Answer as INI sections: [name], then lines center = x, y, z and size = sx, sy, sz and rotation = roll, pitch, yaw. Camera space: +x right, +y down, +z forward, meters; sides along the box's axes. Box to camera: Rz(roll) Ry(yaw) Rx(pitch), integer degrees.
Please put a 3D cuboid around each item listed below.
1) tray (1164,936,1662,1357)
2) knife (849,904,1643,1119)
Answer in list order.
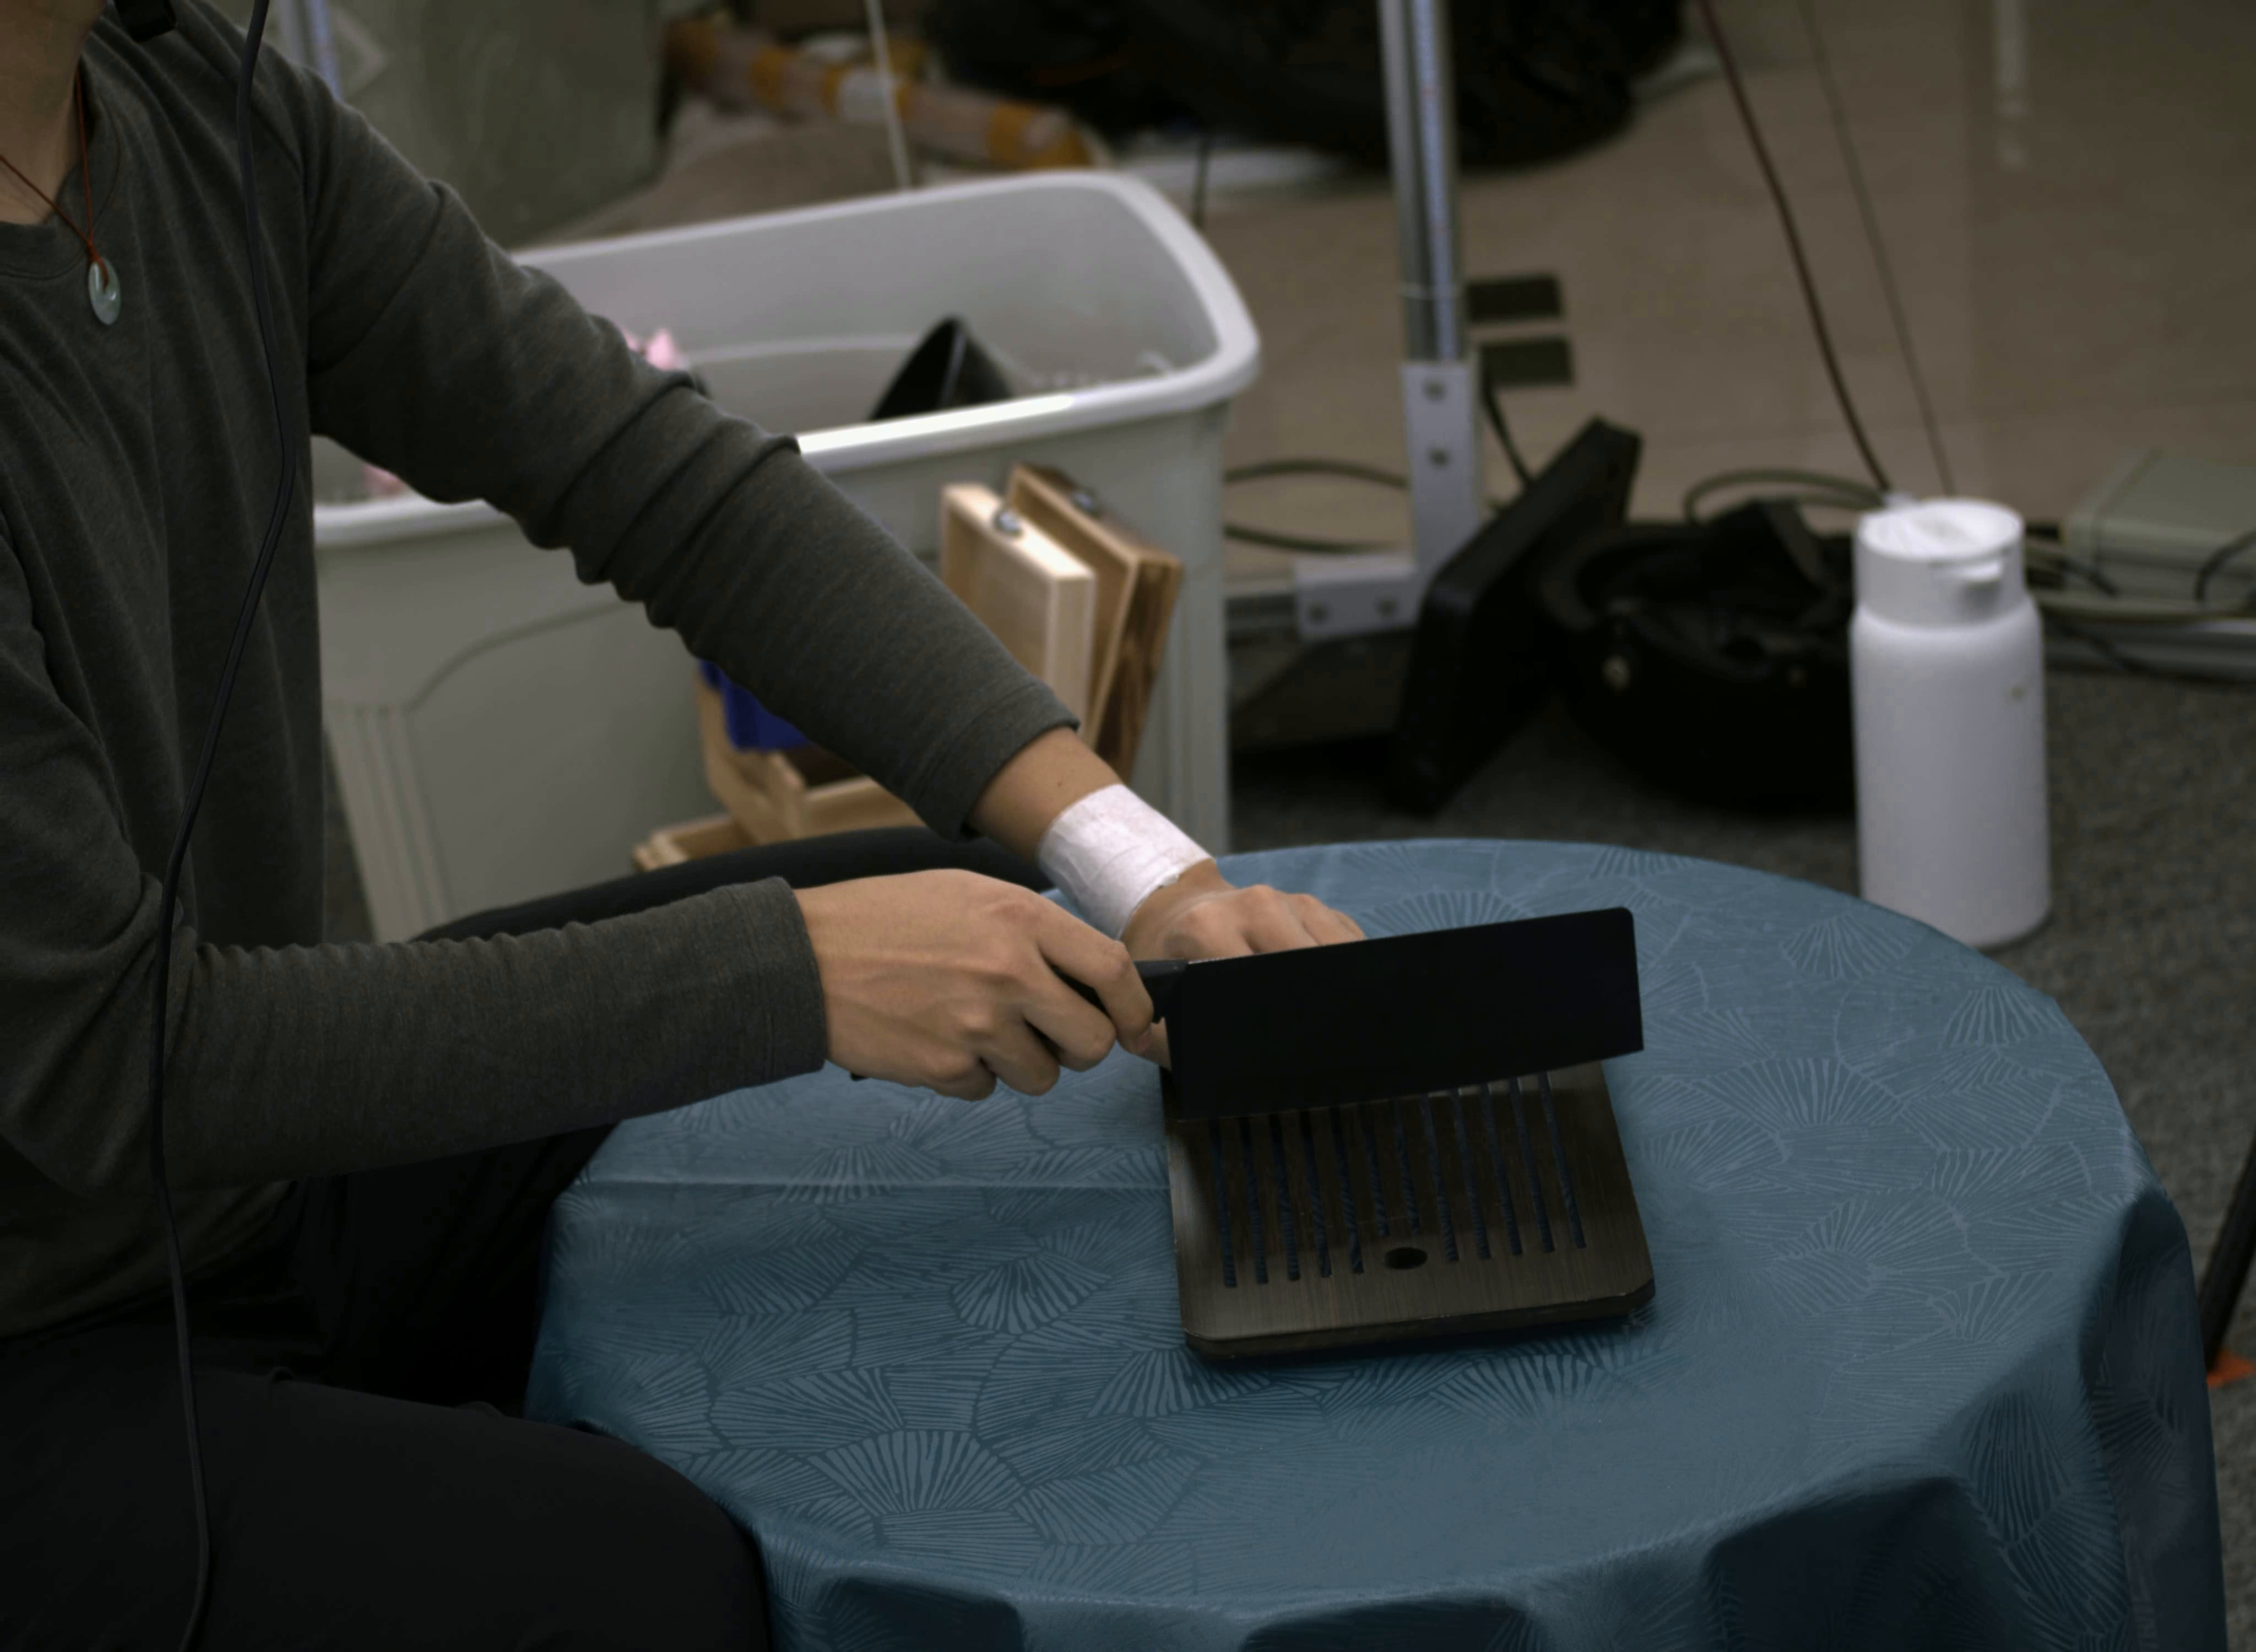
[tray]
center = 0.102, 0.118, 2.149
size = 0.170, 0.019, 0.301
rotation = -7, 24, 1
[knife]
center = 0.045, 0.074, 2.147
size = 0.302, 0.082, 0.020
rotation = -3, 22, -1
